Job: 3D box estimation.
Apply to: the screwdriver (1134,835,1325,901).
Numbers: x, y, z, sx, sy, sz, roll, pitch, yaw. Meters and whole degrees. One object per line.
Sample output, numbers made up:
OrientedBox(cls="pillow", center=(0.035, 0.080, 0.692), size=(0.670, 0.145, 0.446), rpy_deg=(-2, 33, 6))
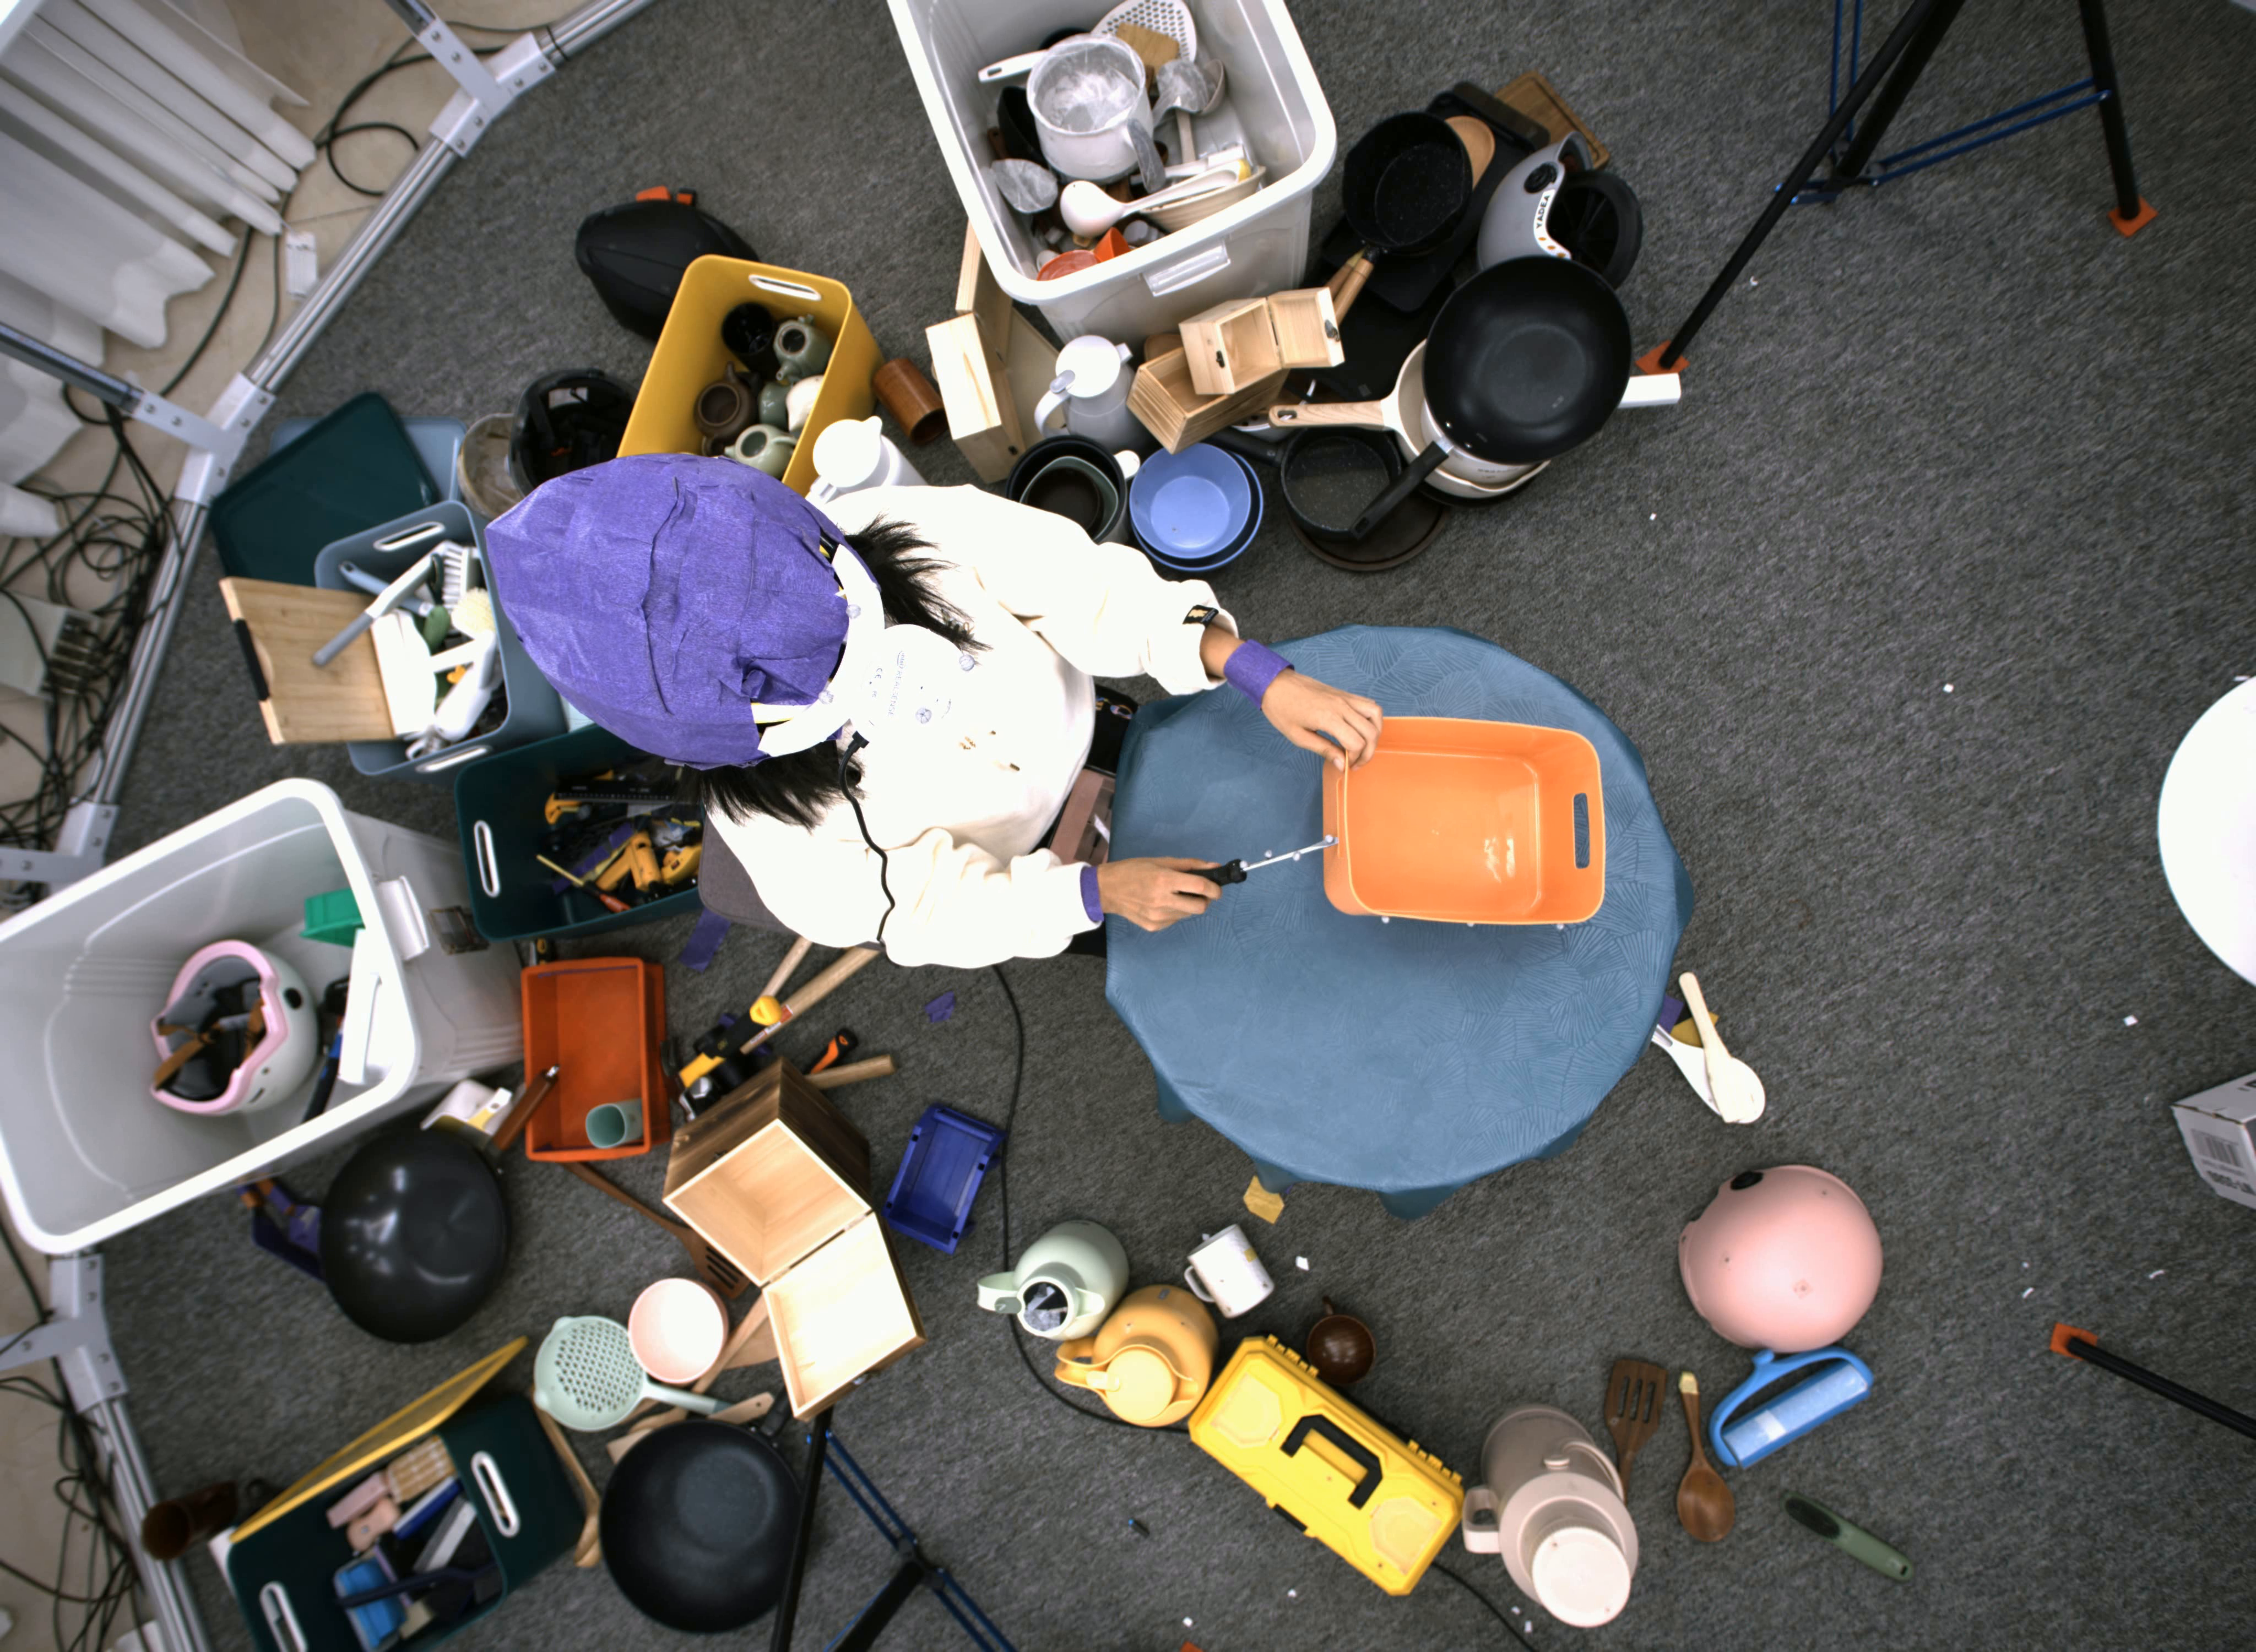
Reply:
OrientedBox(cls="screwdriver", center=(0.098, 0.034, 1.353), size=(0.200, 0.031, 0.031), rpy_deg=(-19, 82, 17))

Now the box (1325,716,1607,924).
OrientedBox(cls="box", center=(0.325, -0.003, 1.359), size=(0.273, 0.103, 0.198), rpy_deg=(2, 86, -13))
